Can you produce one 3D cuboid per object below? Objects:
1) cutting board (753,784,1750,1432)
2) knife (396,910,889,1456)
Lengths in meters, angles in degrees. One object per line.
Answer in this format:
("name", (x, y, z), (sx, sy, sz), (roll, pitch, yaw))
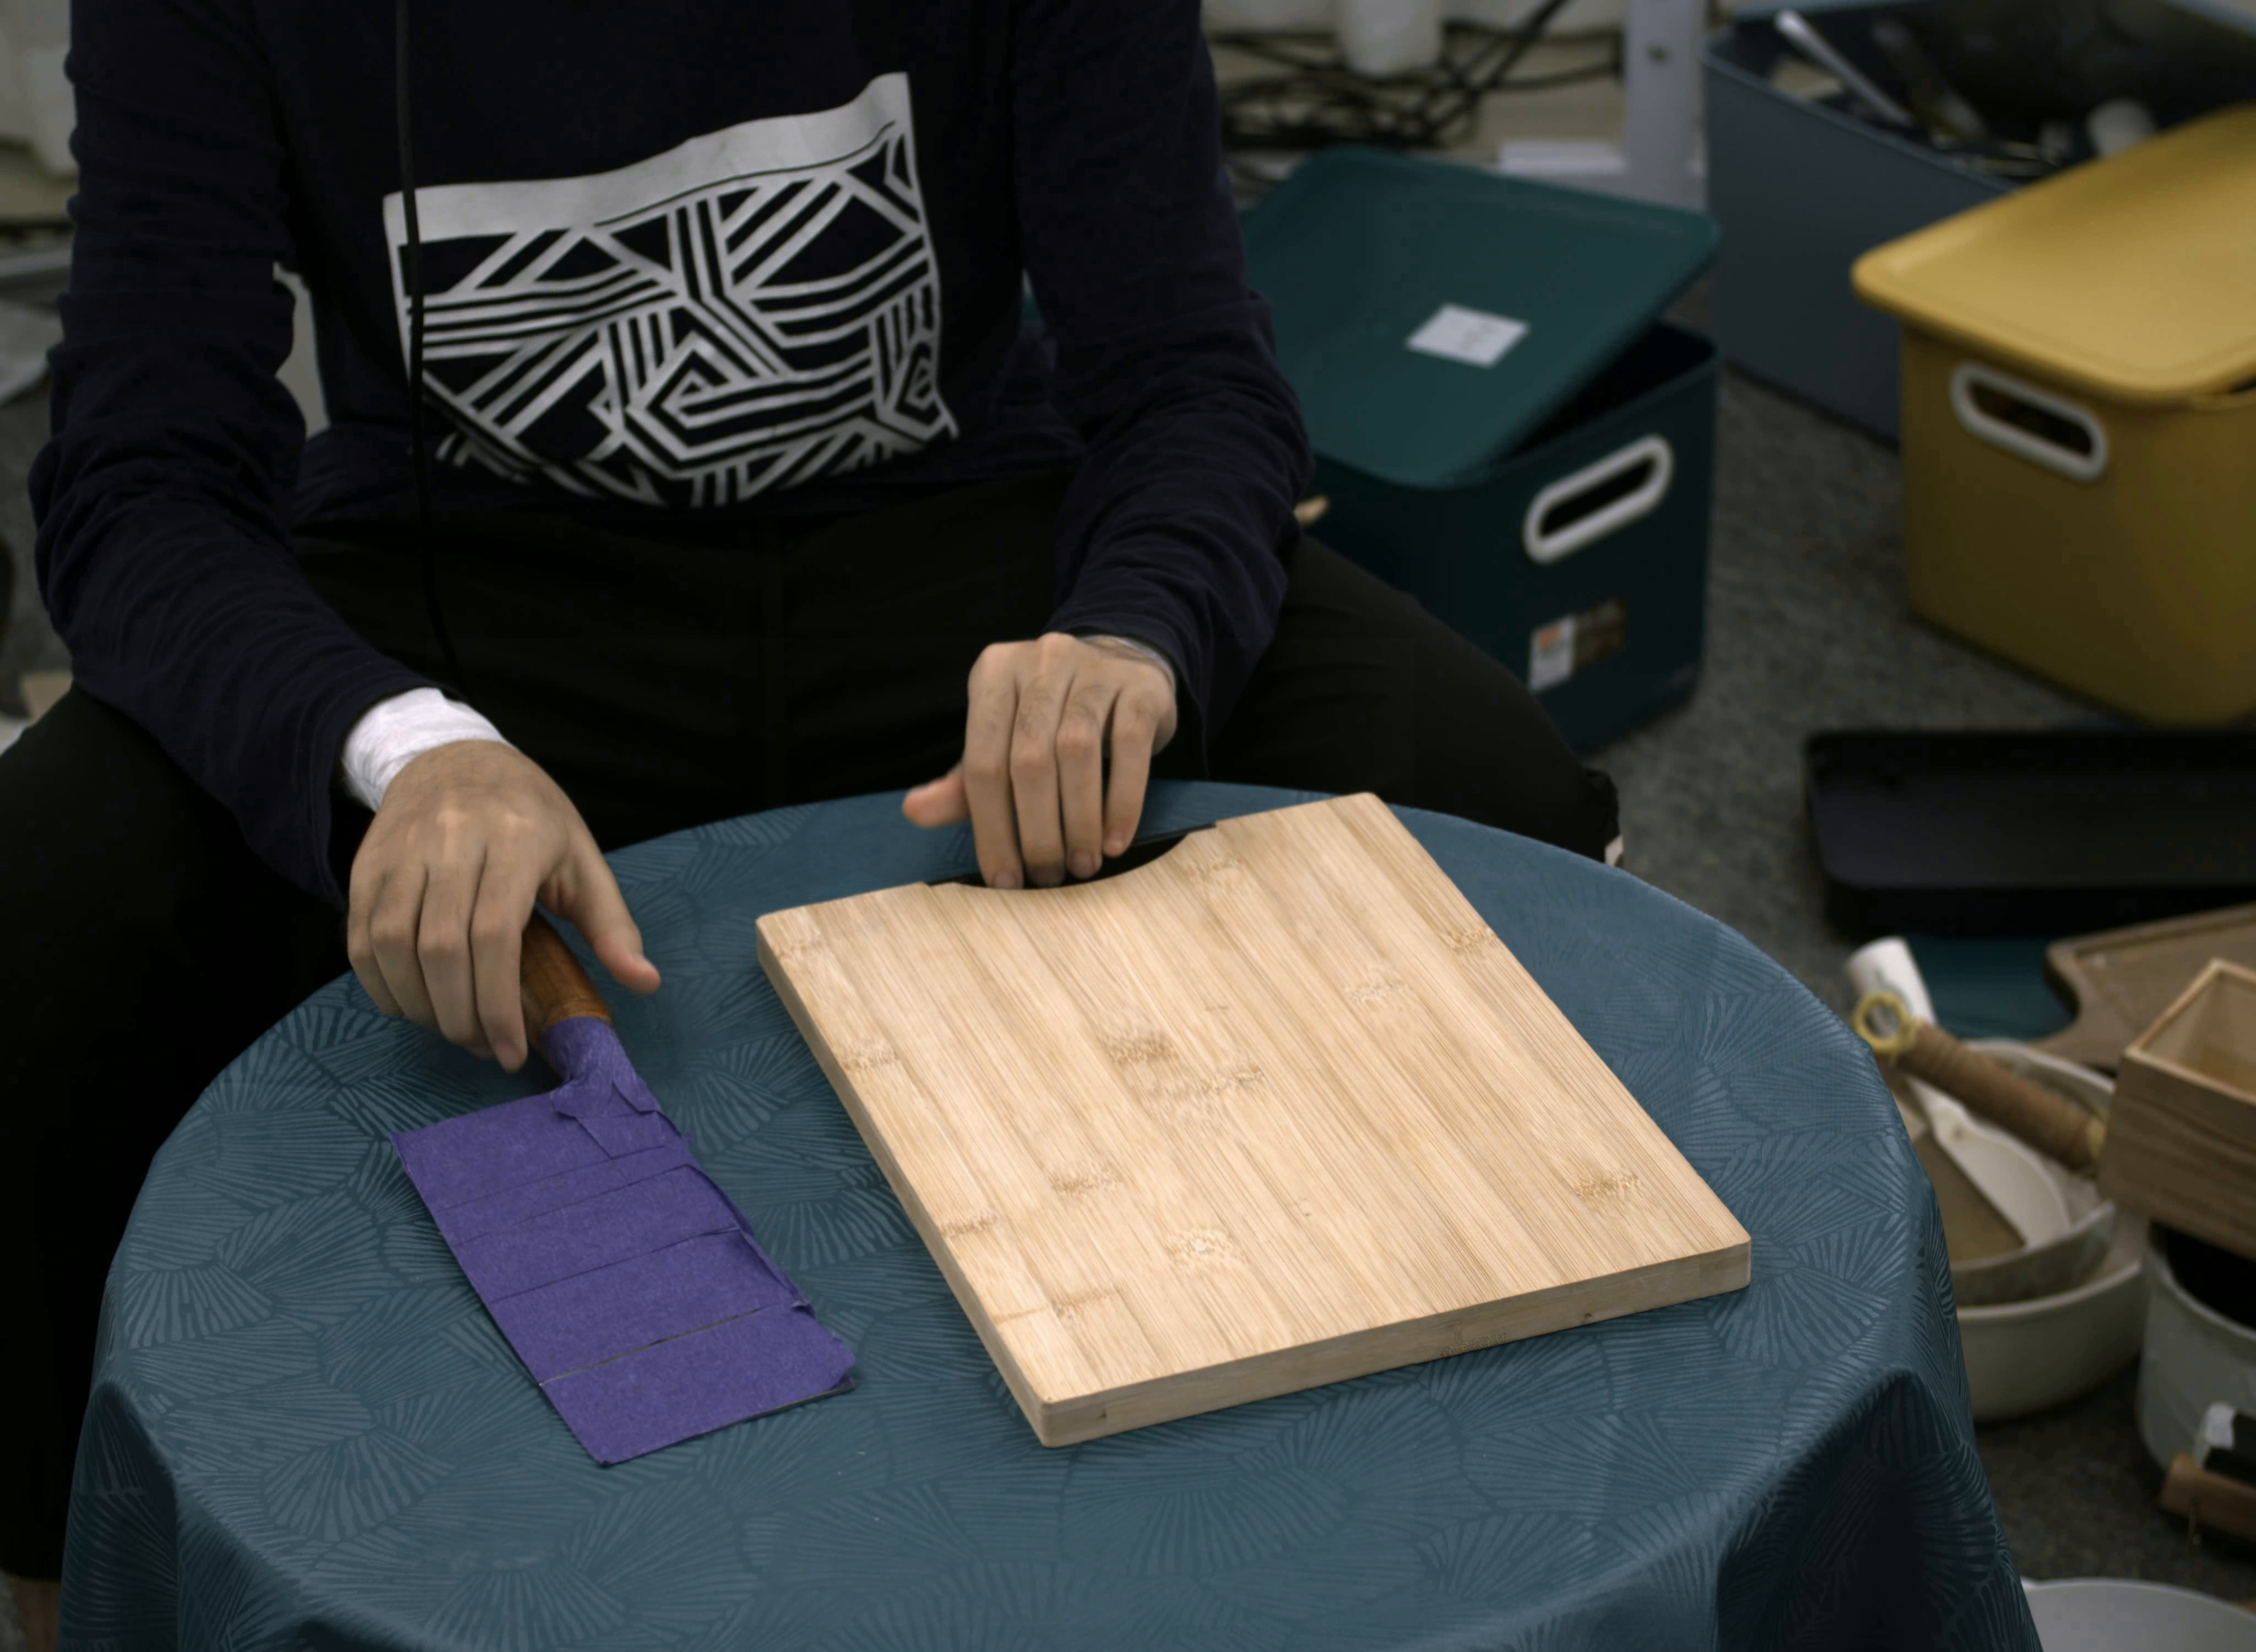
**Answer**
("cutting board", (0.032, 0.088, 1.905), (0.251, 0.023, 0.351), (-11, 28, -16))
("knife", (-0.187, 0.114, 1.864), (0.104, 0.032, 0.317), (-14, 30, -21))
